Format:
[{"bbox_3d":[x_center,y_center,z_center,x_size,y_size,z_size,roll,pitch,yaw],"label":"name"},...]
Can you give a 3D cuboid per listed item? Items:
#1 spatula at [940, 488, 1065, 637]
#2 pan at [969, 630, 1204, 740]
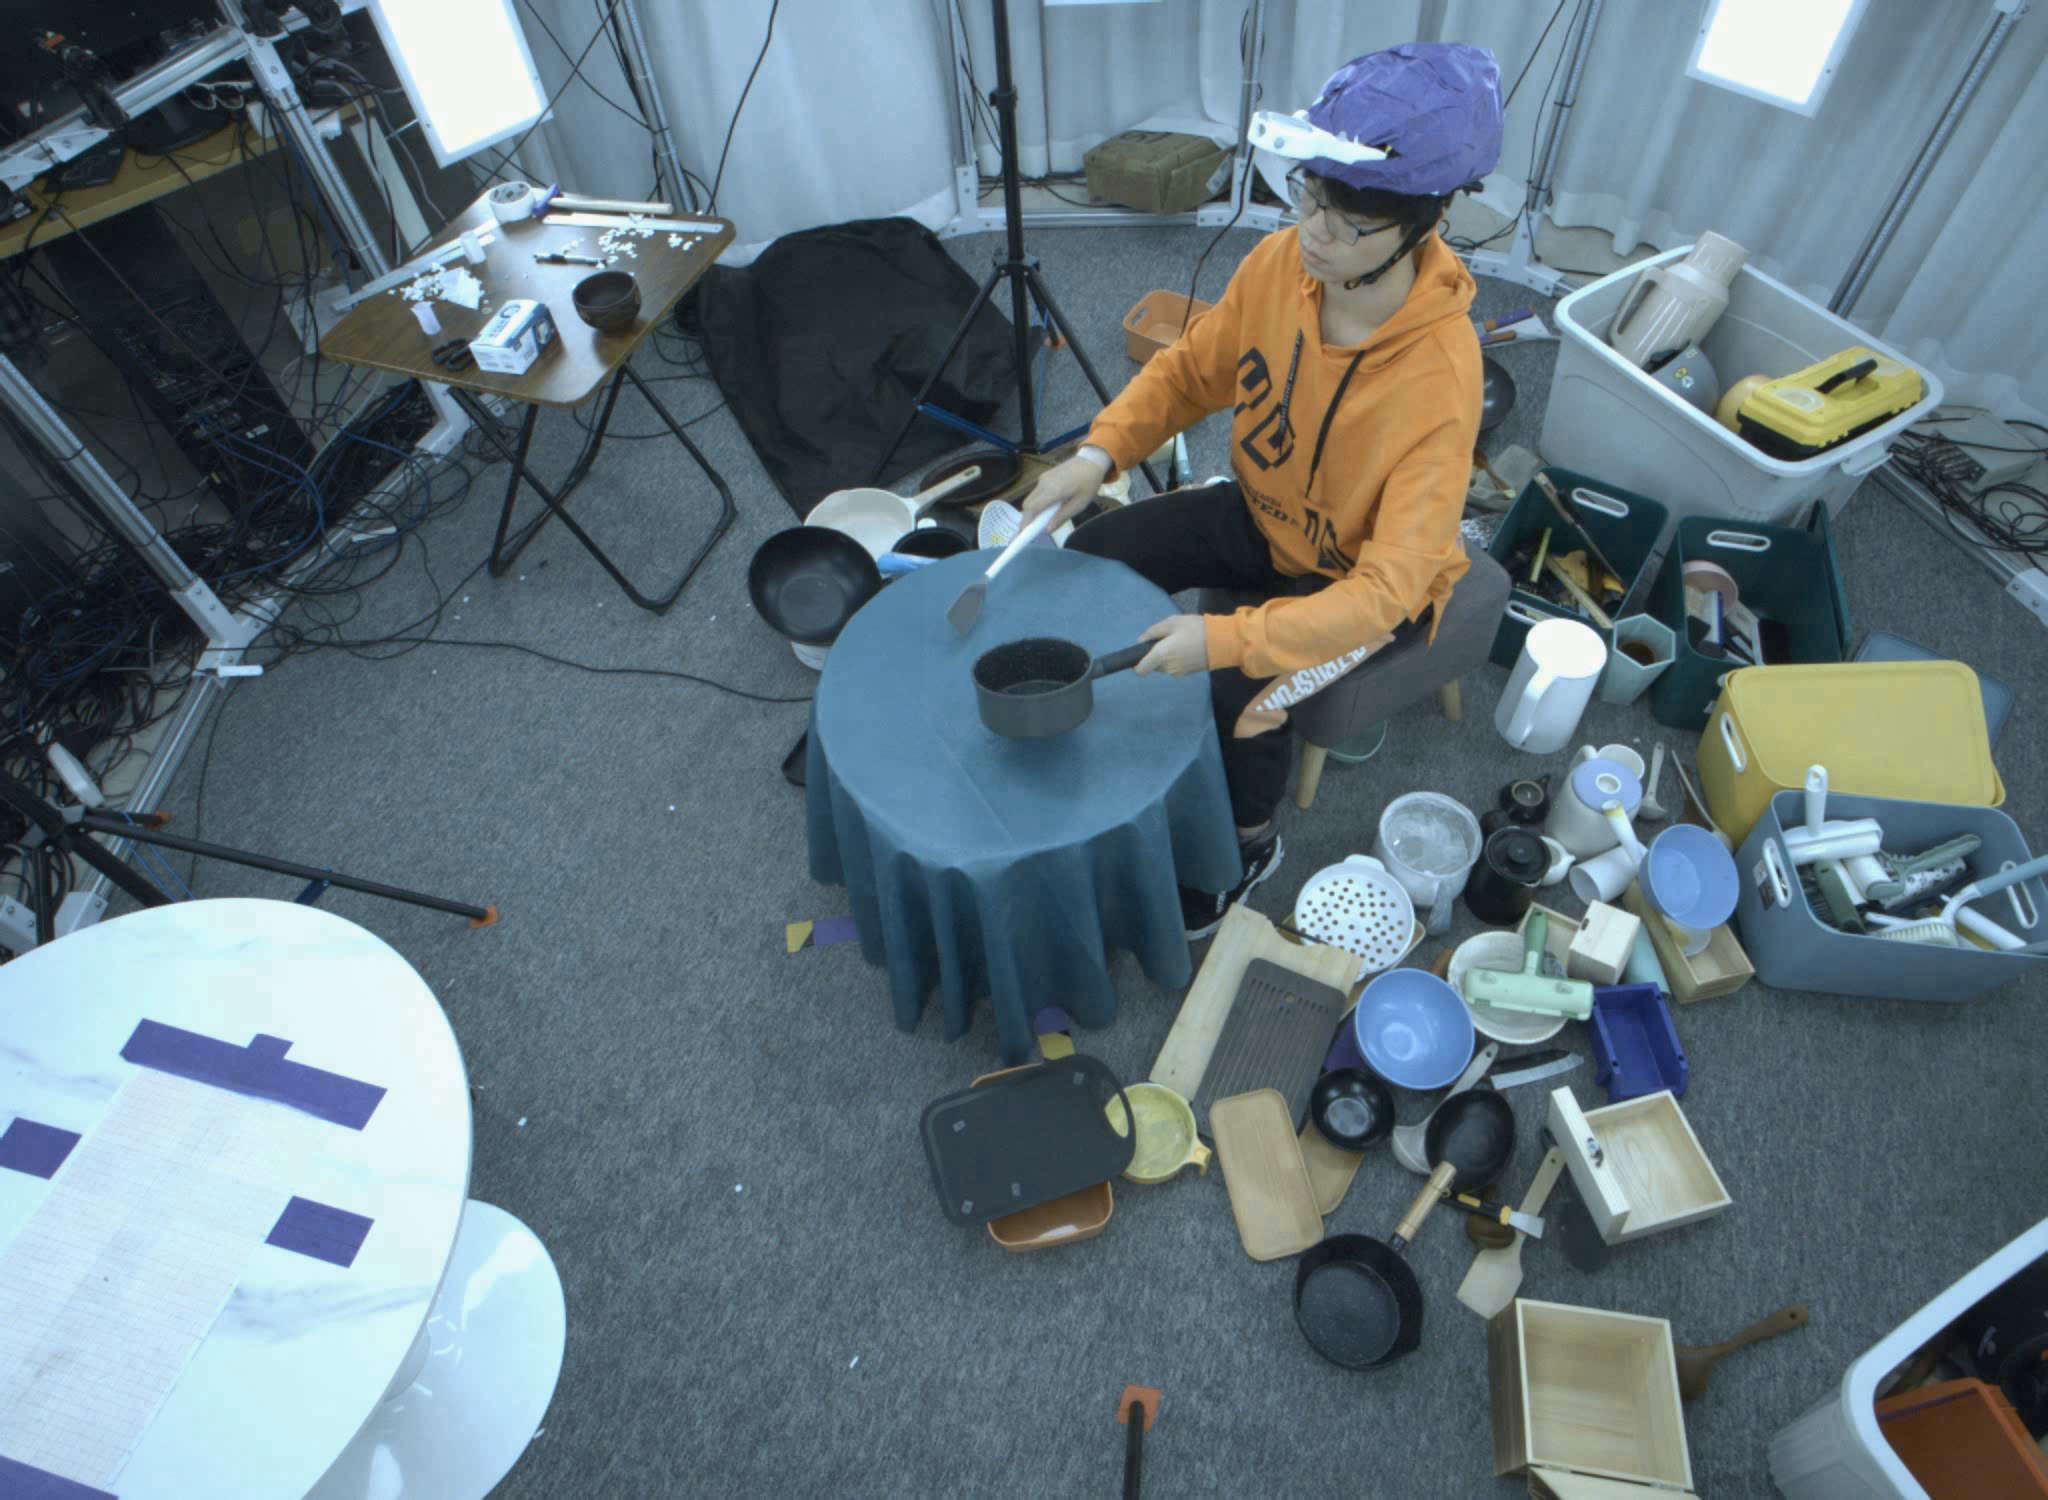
[{"bbox_3d":[-0.034,-0.297,1.915,0.031,0.060,0.288,23,69,47],"label":"spatula"},{"bbox_3d":[0.091,-0.102,1.730,0.330,0.087,0.169,-10,35,-4],"label":"pan"}]
